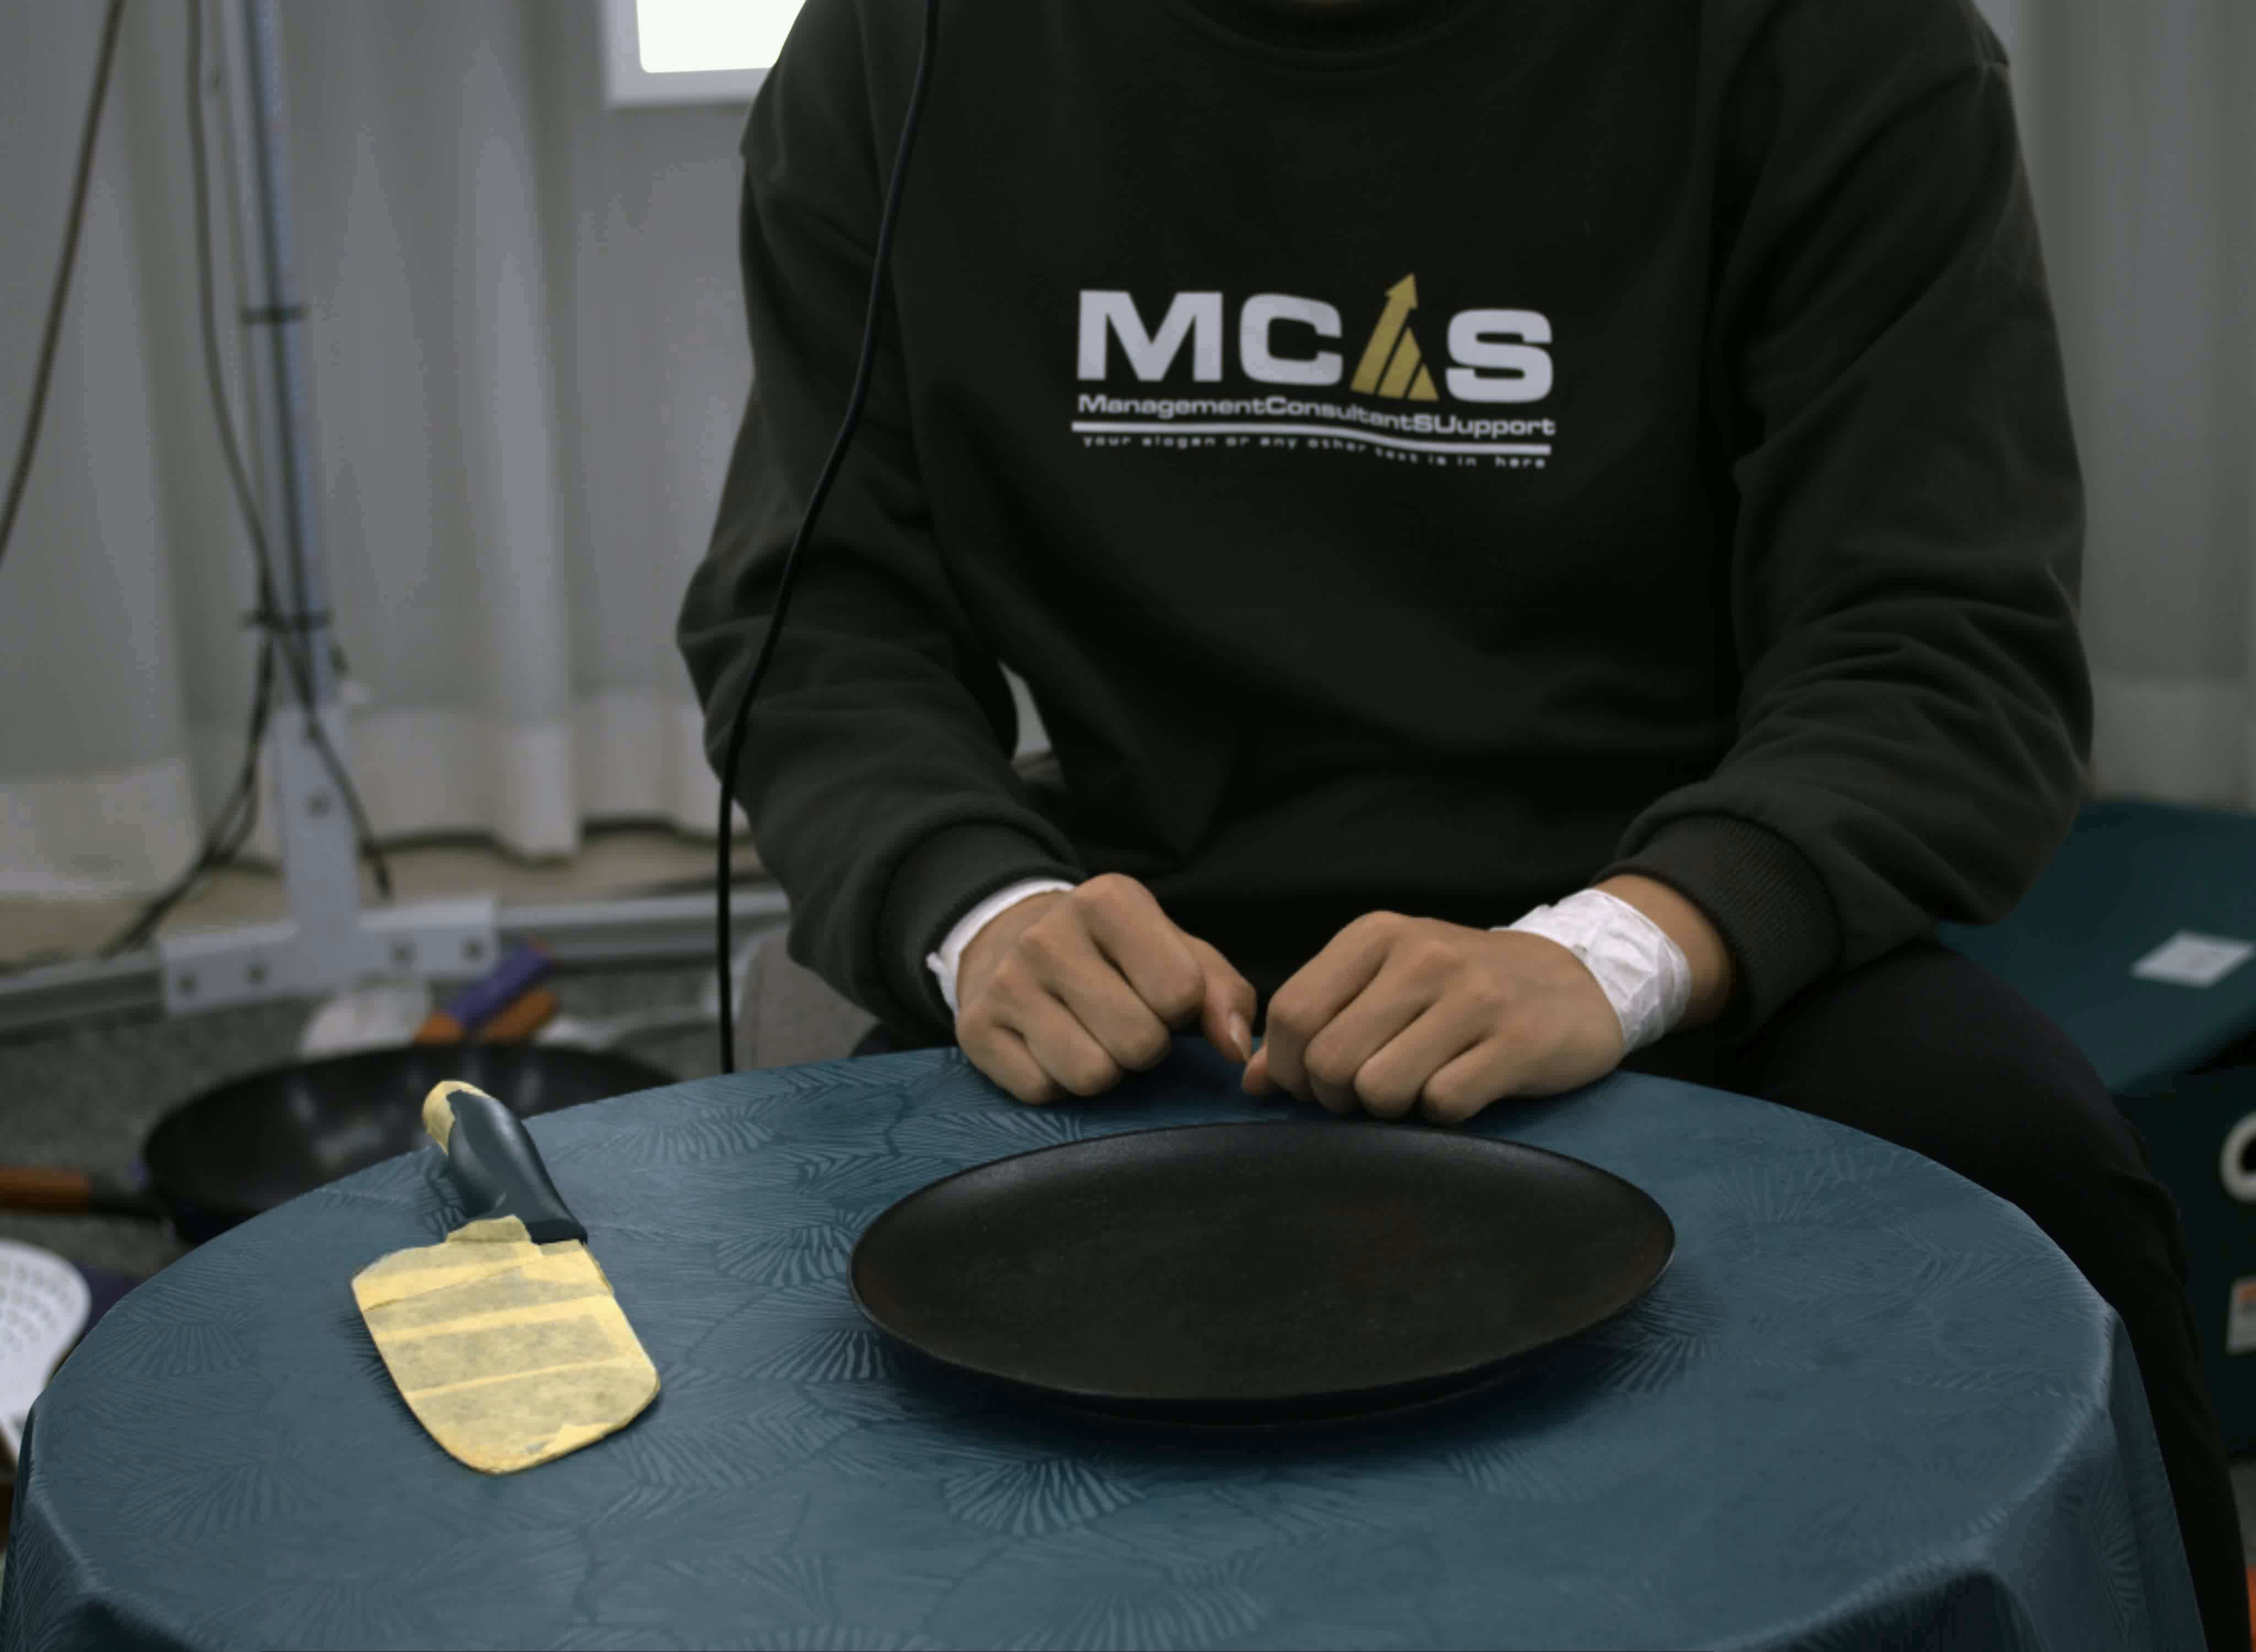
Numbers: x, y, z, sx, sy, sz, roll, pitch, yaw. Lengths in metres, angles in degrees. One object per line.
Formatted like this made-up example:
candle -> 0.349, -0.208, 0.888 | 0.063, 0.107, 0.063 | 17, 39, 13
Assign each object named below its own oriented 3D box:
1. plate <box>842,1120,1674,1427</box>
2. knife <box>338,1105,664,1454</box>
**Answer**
plate -> 0.038, 0.133, 1.596 | 0.243, 0.023, 0.246 | -3, 15, 0
knife -> -0.195, 0.136, 1.645 | 0.080, 0.027, 0.292 | -5, 16, -13
